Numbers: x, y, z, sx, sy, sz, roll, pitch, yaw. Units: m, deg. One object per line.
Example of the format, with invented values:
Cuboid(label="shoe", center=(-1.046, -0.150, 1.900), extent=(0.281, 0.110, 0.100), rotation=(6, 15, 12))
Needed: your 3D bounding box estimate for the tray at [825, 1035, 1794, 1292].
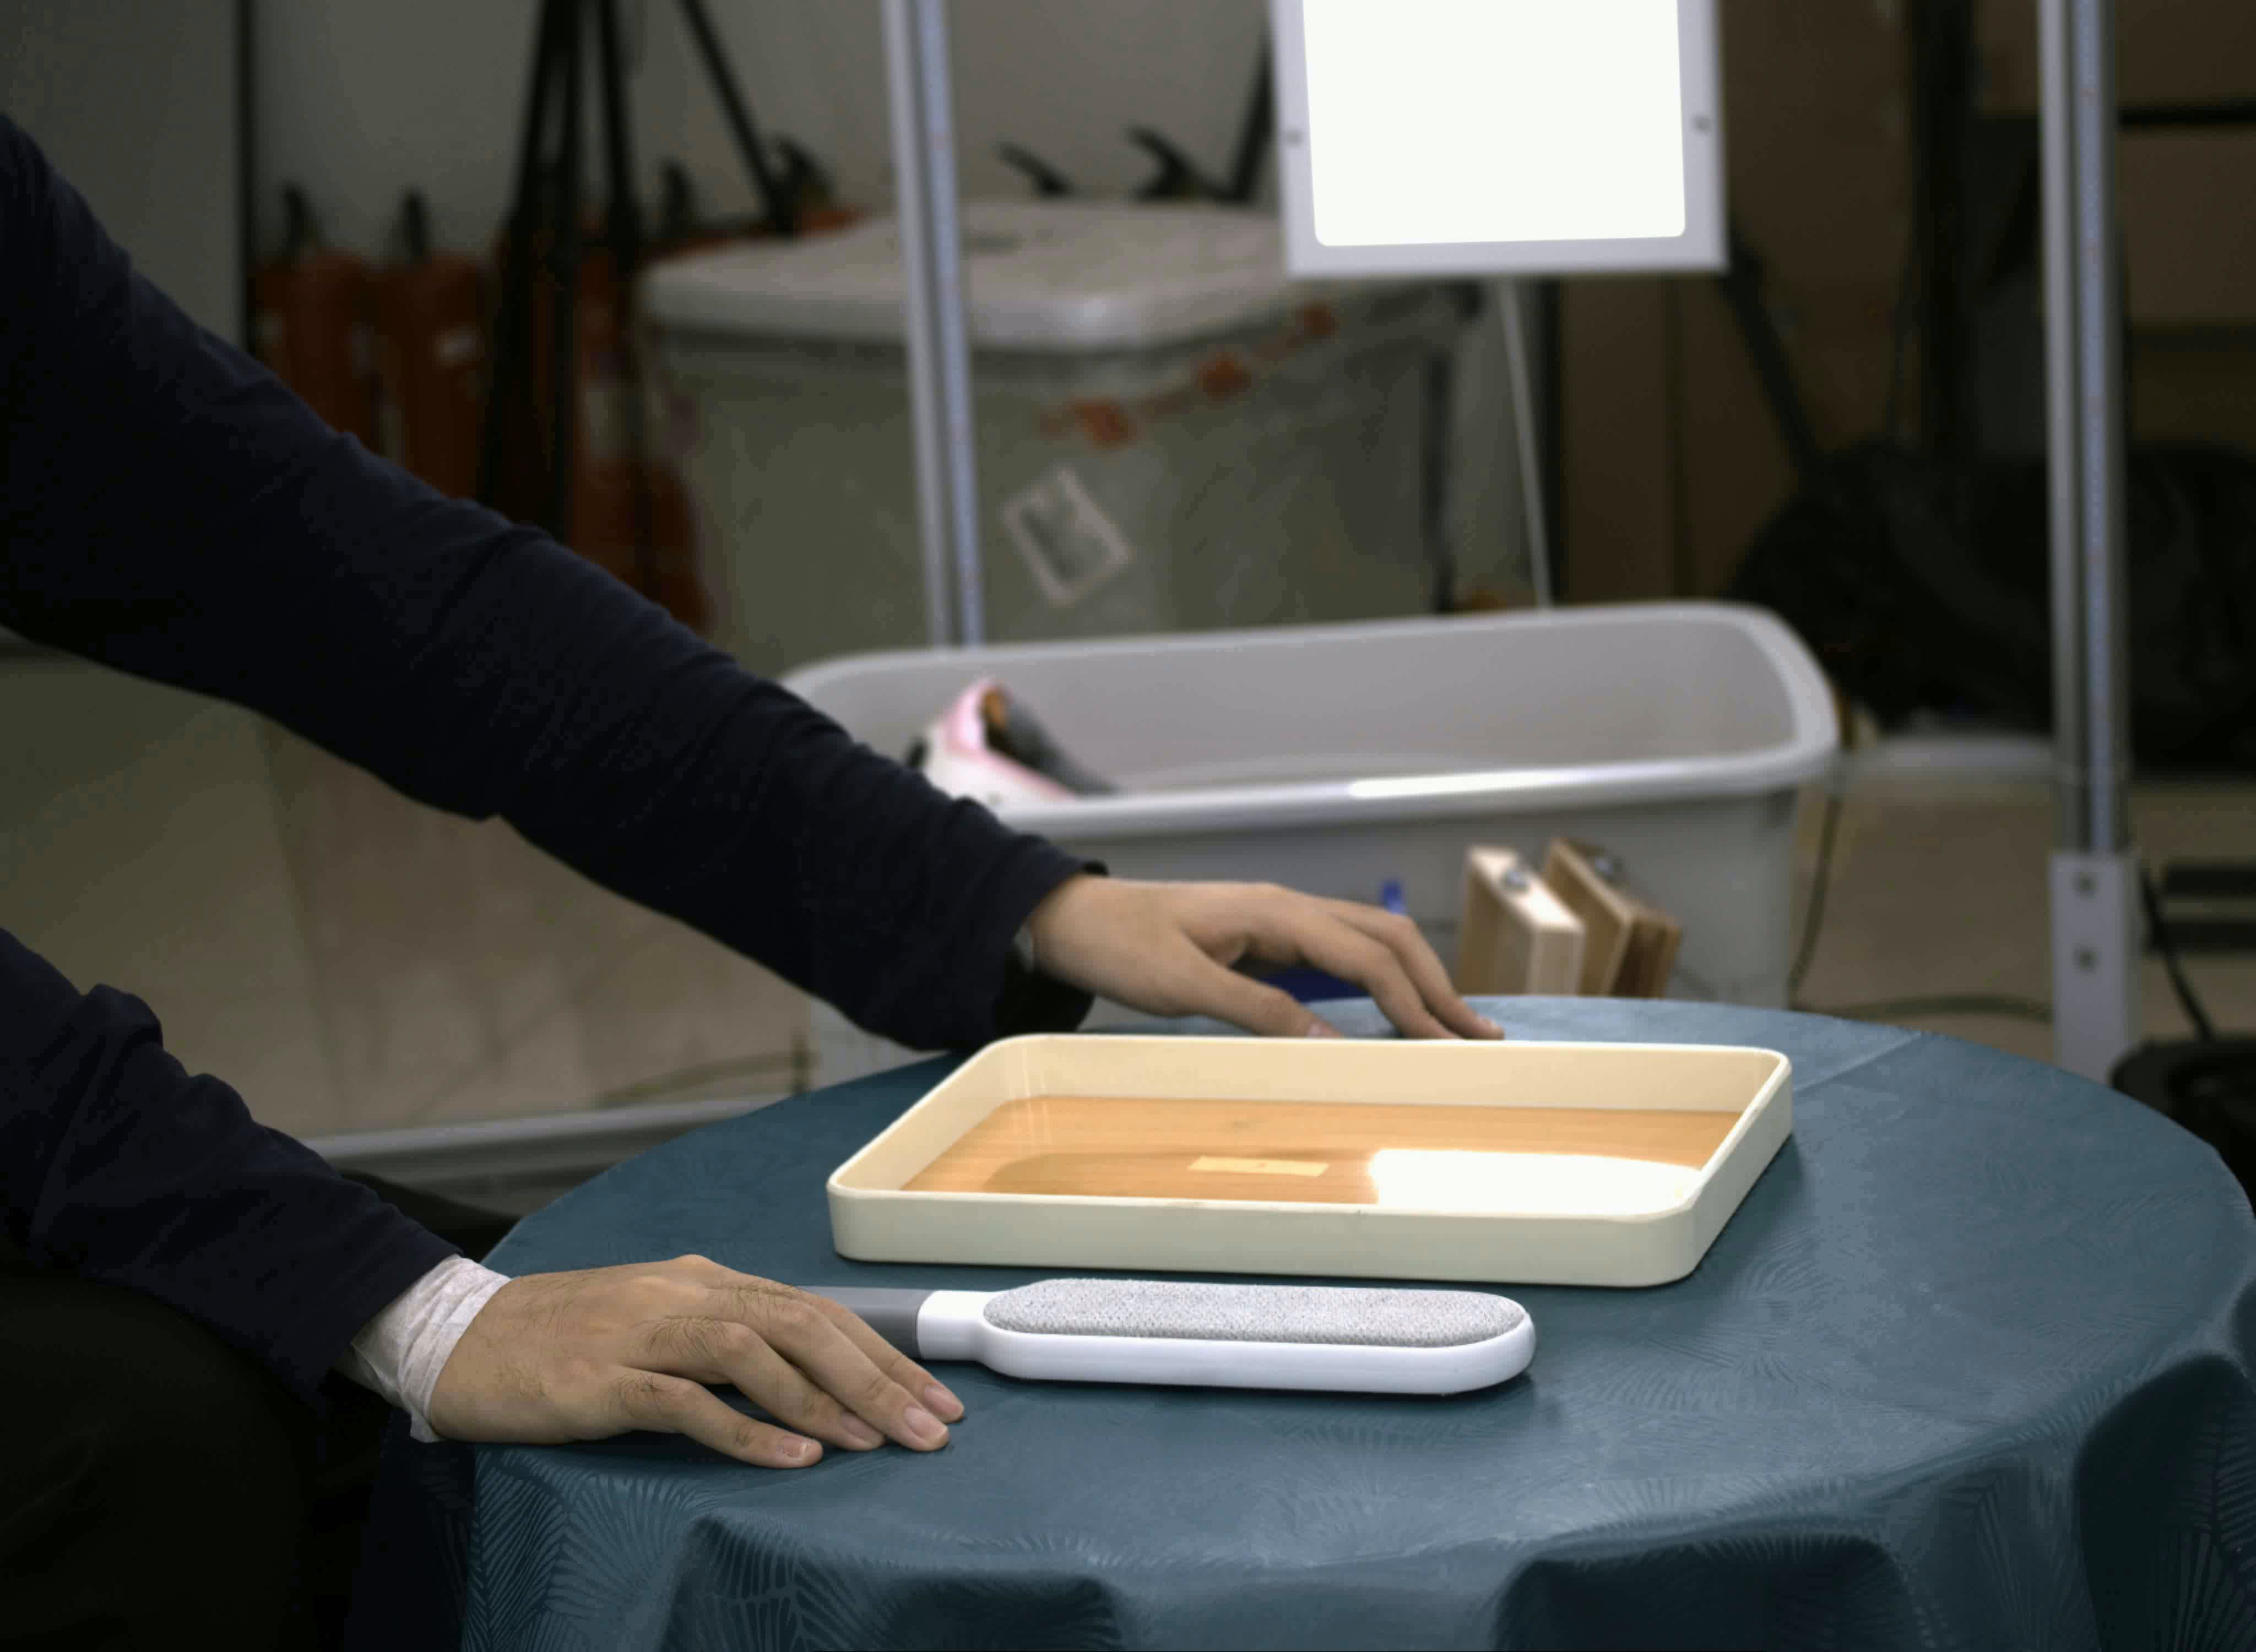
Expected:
Cuboid(label="tray", center=(0.065, 0.113, 1.880), extent=(0.304, 0.027, 0.188), rotation=(0, 15, 22))

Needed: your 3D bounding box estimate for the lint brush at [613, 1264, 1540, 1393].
Cuboid(label="lint brush", center=(-0.021, 0.155, 1.736), extent=(0.313, 0.021, 0.059), rotation=(0, 20, 22))
